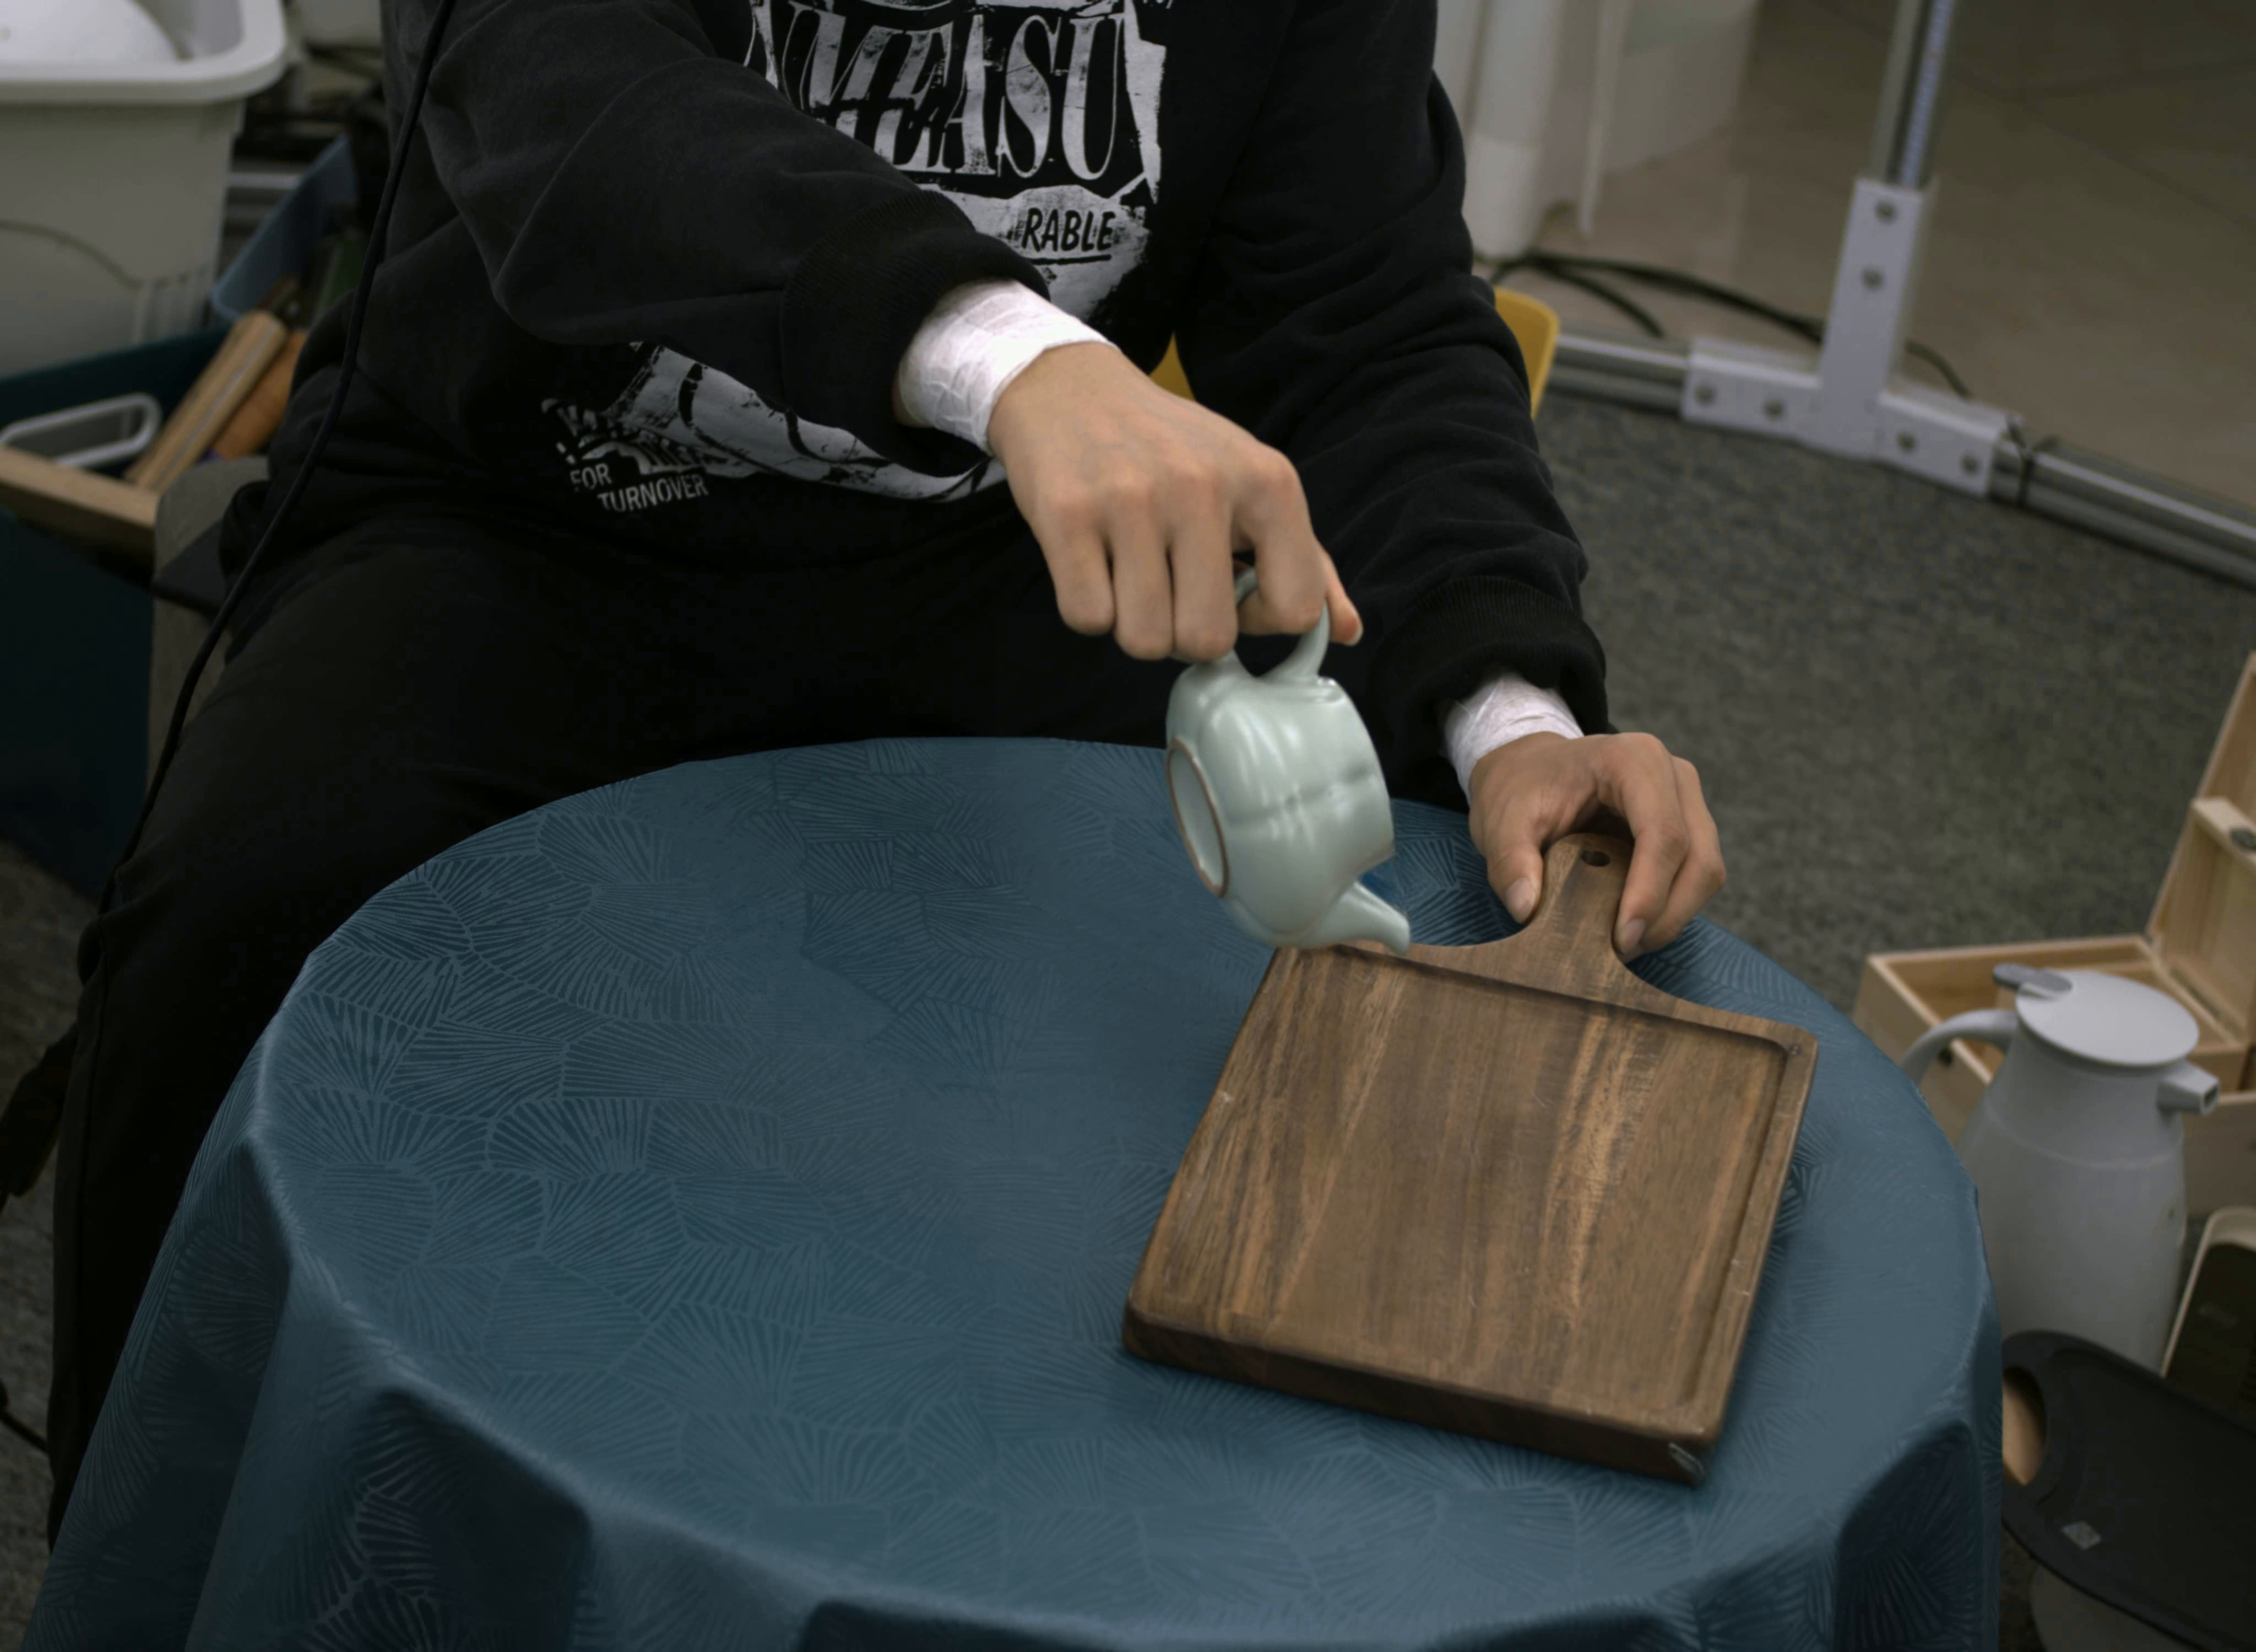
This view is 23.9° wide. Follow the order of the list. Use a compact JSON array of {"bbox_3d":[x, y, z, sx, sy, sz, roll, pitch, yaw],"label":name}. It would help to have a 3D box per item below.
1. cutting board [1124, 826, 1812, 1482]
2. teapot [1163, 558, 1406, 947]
[{"bbox_3d":[0.131,0.096,1.834,0.201,0.023,0.353,11,32,9],"label":"cutting board"},{"bbox_3d":[0.048,-0.017,1.718,0.061,0.137,0.096,-17,11,-12],"label":"teapot"}]
